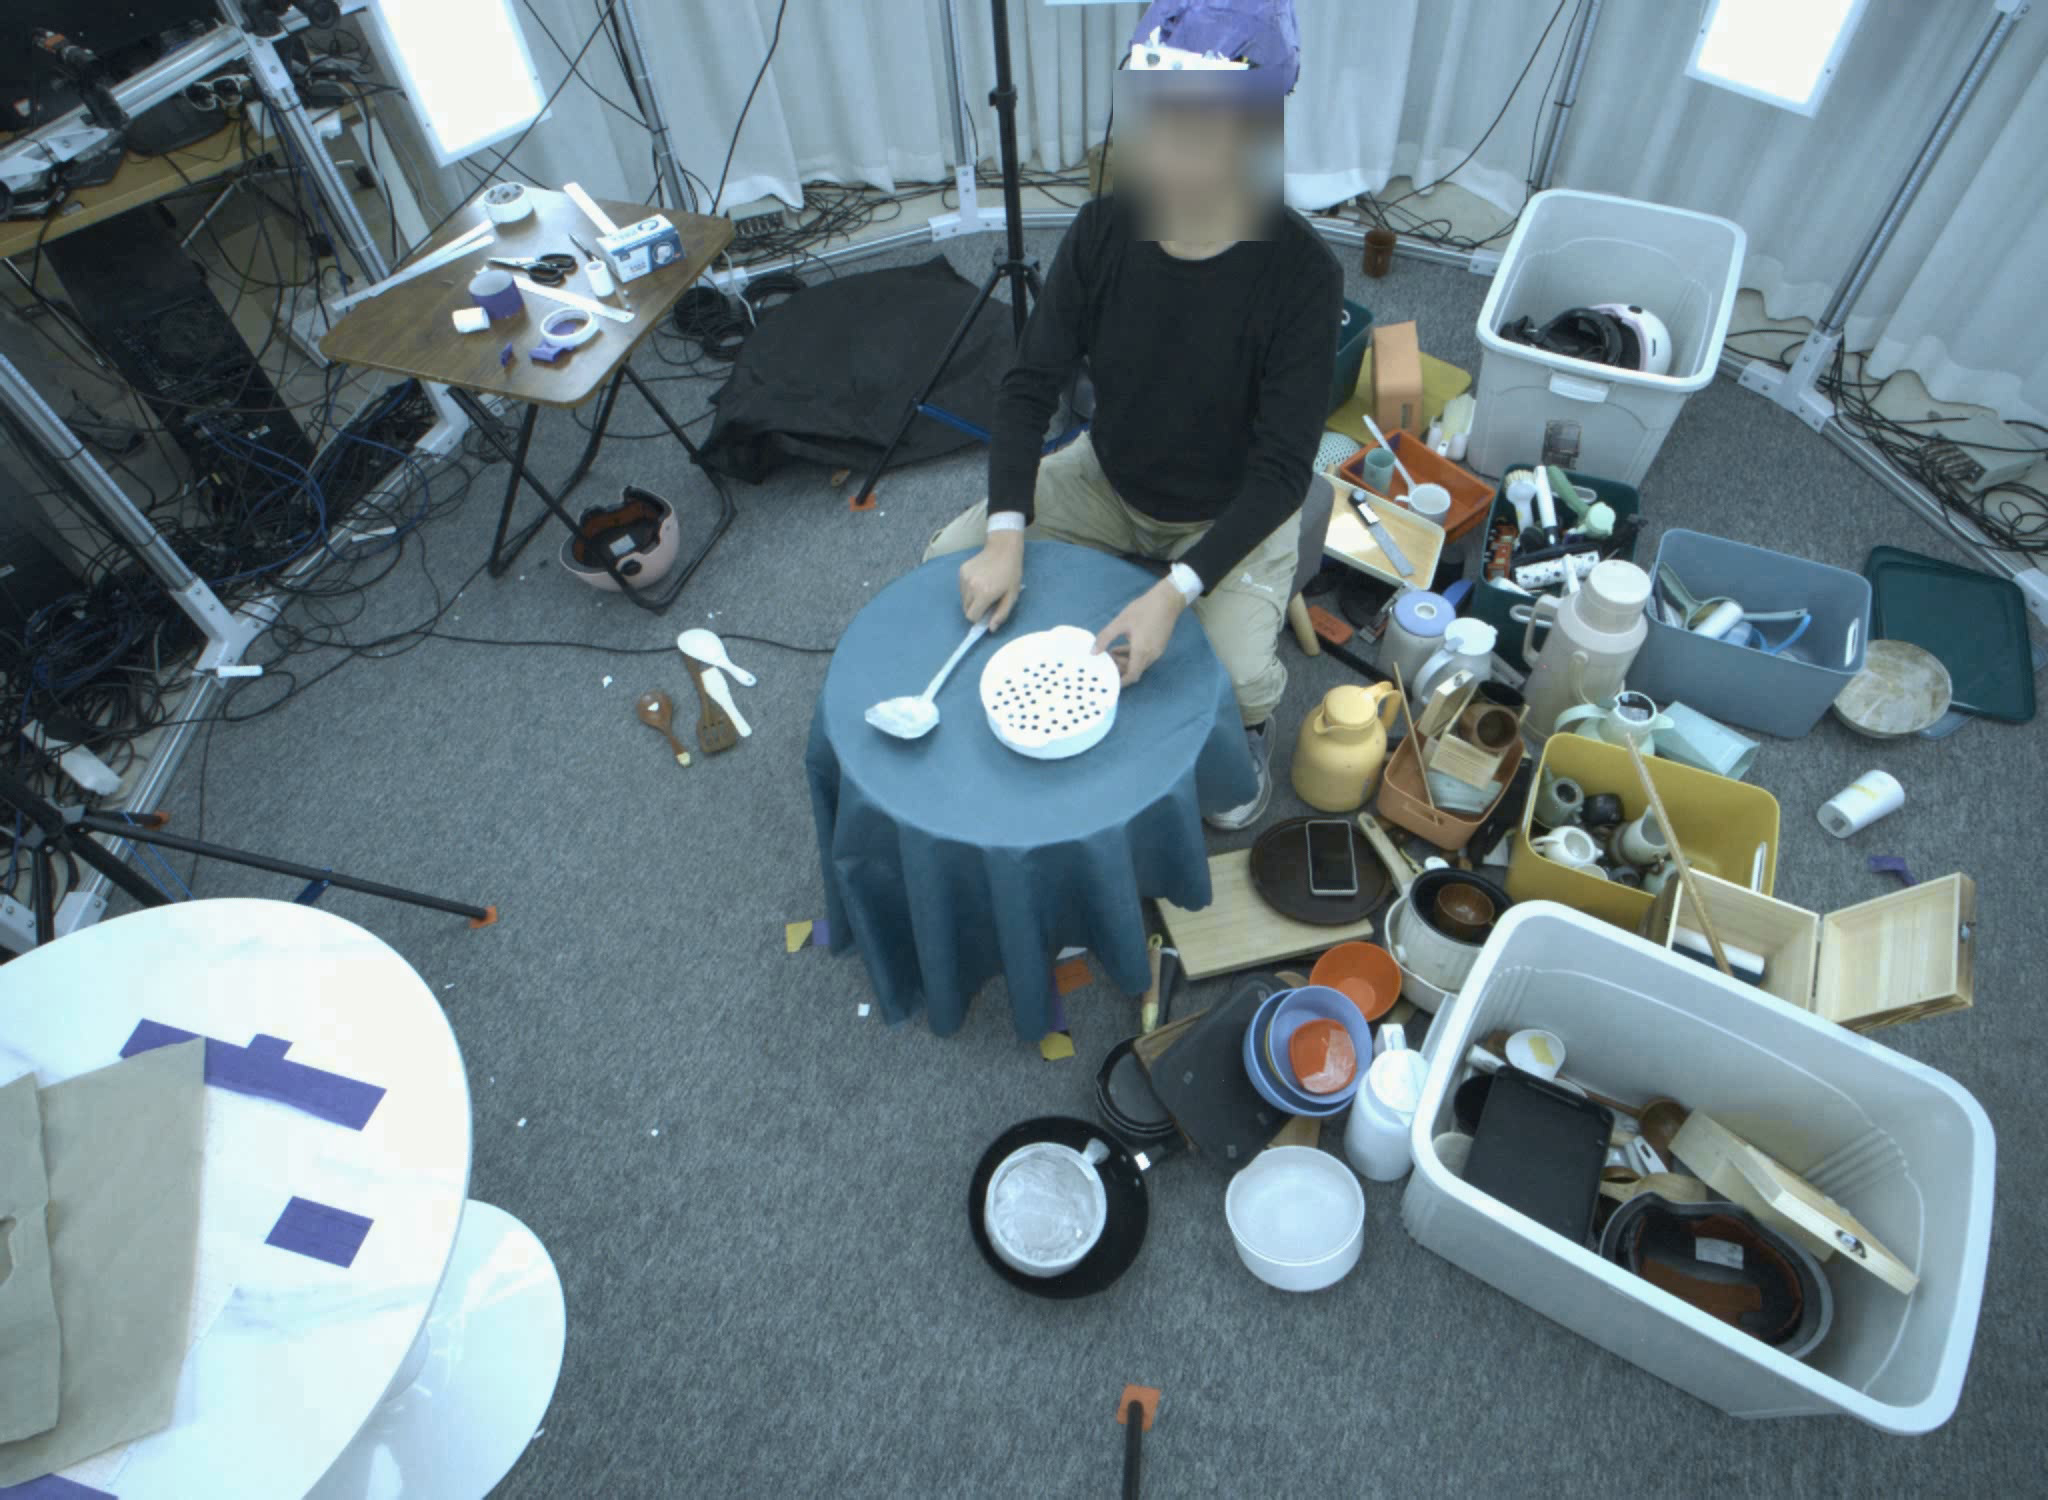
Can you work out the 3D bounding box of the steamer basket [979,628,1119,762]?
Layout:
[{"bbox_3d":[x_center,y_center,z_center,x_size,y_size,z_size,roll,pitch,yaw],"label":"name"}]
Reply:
[{"bbox_3d":[0.037,-0.076,1.797,0.200,0.070,0.230,17,56,13],"label":"steamer basket"}]

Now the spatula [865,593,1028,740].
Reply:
[{"bbox_3d":[-0.102,-0.141,1.868,0.097,0.045,0.366,25,59,22],"label":"spatula"}]
